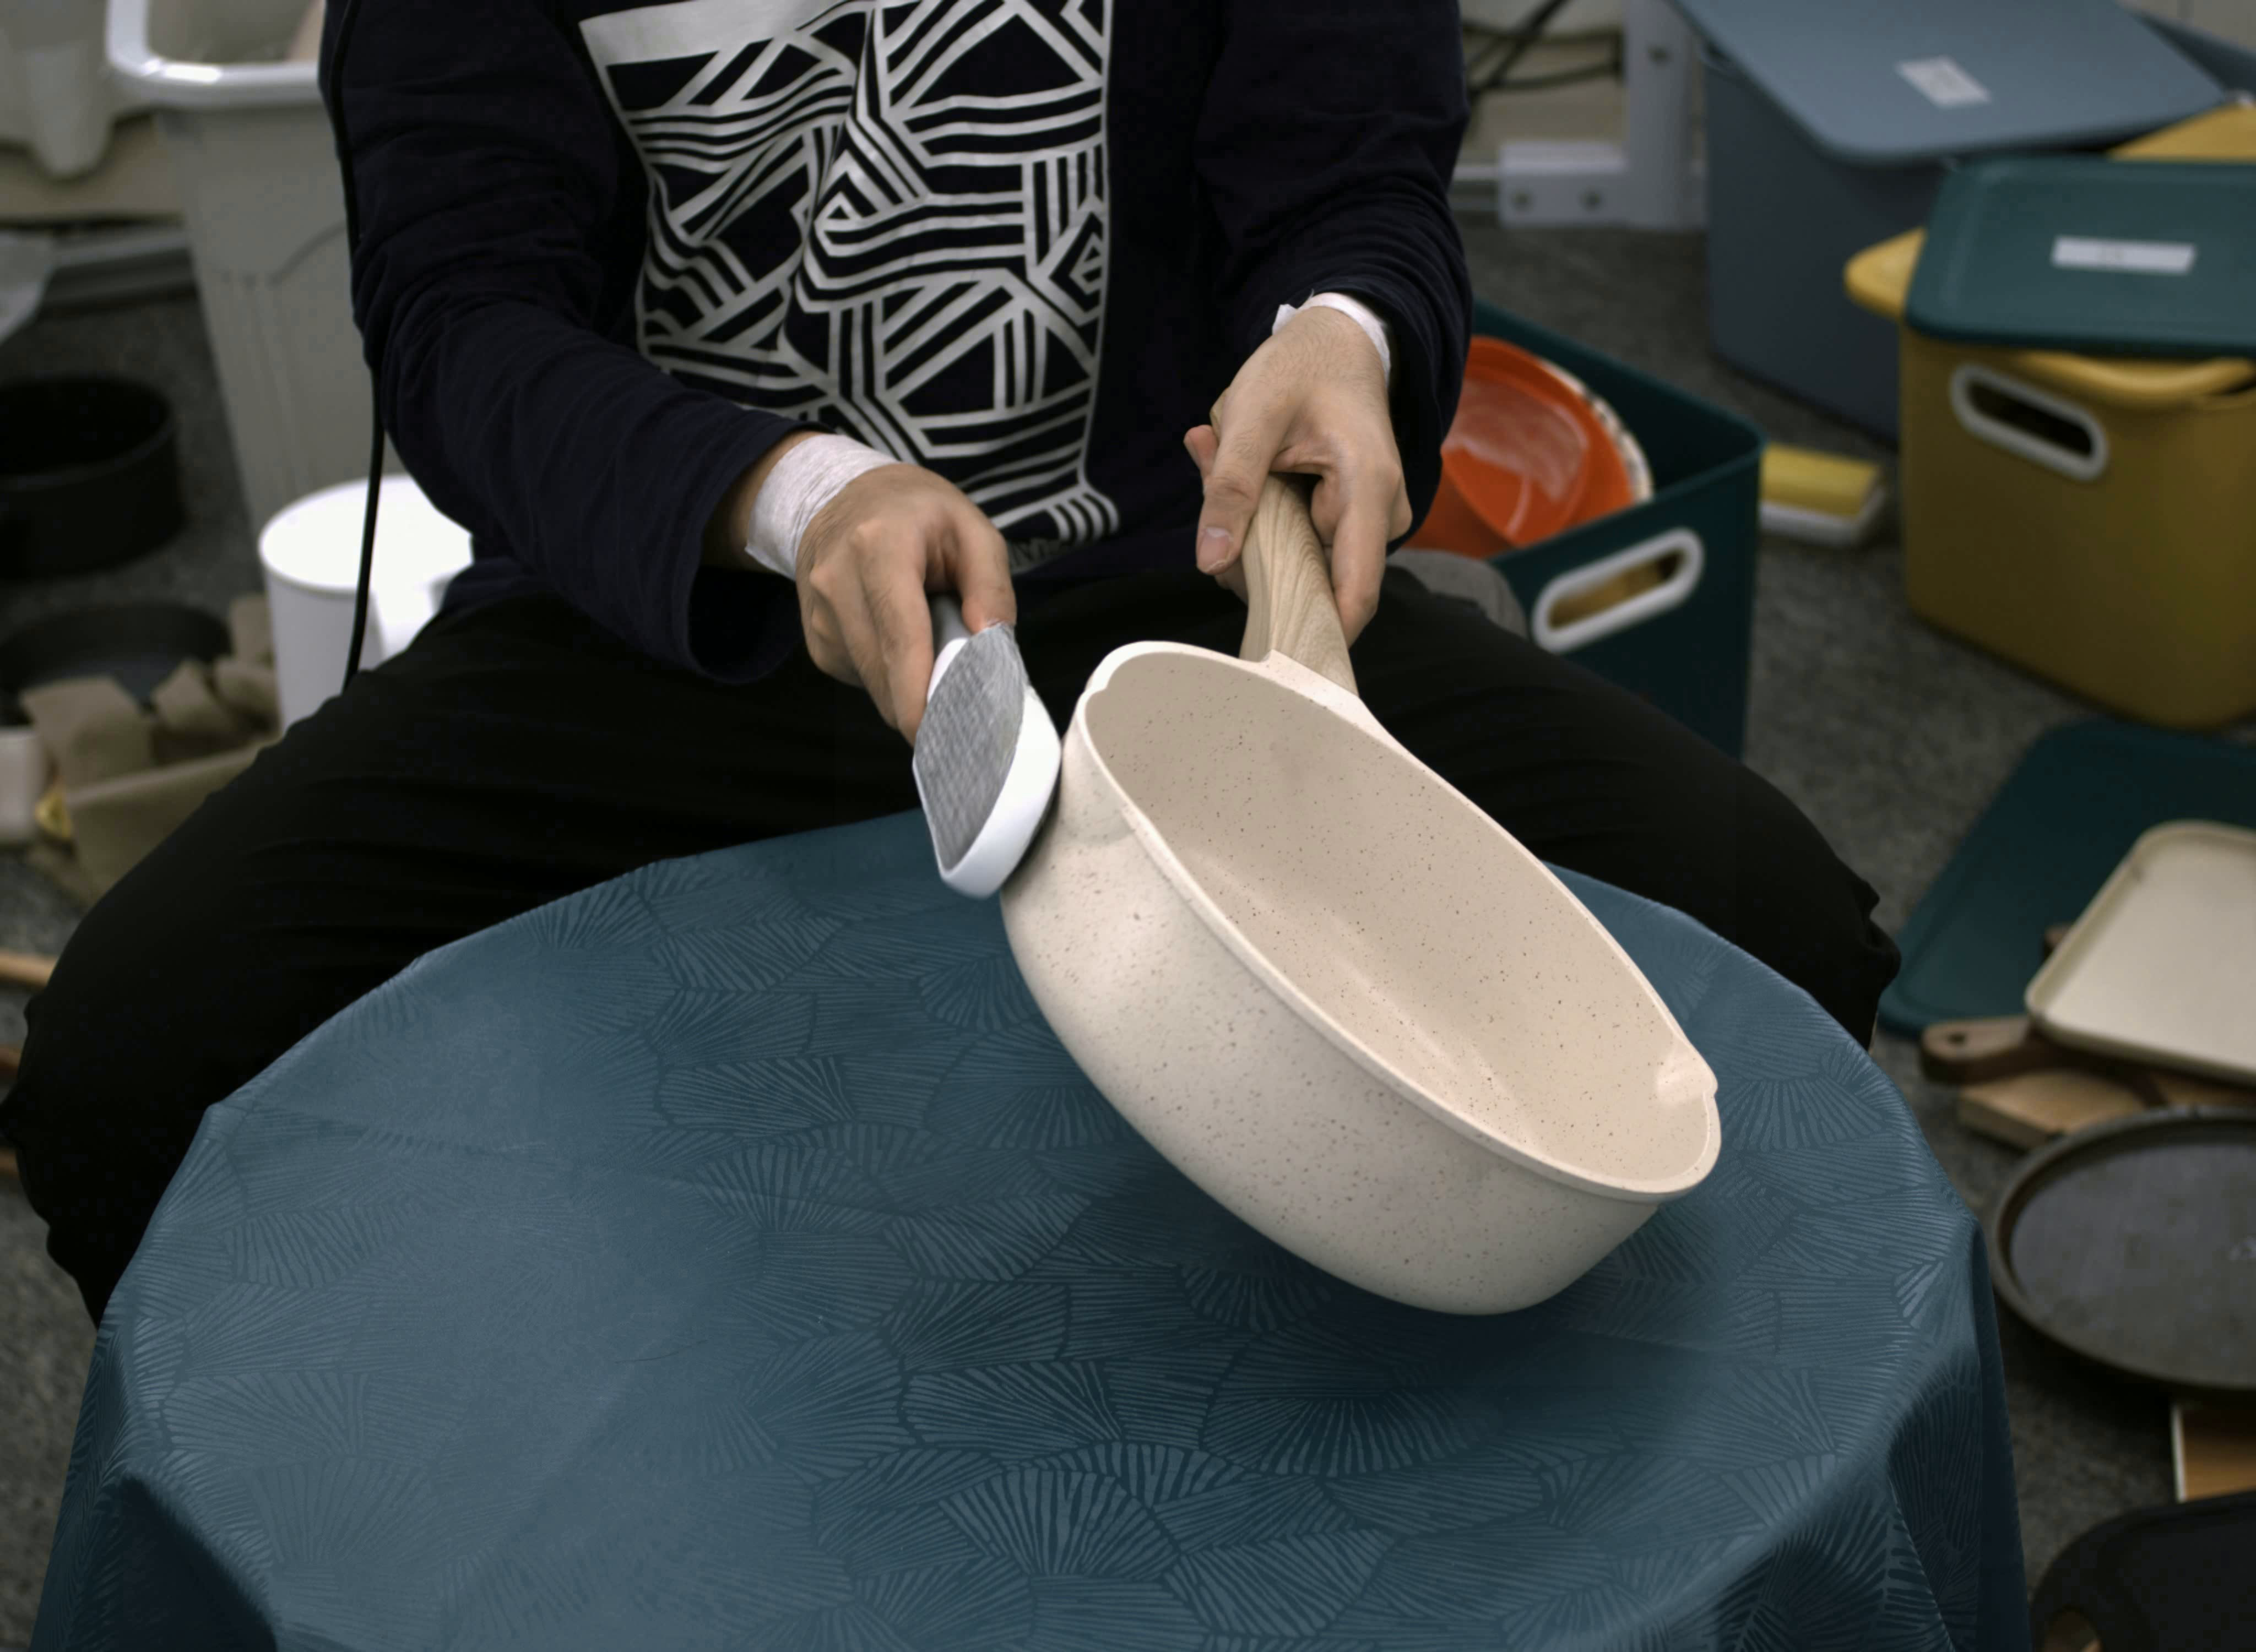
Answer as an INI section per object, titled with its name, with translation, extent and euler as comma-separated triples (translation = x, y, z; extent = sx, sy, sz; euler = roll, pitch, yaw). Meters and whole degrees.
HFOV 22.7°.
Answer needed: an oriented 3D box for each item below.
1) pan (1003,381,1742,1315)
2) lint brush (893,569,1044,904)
[pan]
translation = 0.056, 0.000, 1.863
extent = 0.262, 0.101, 0.441
euler = 25, 25, -25
[lint brush]
translation = -0.056, -0.039, 1.855
extent = 0.021, 0.060, 0.311
euler = 23, 12, -12
